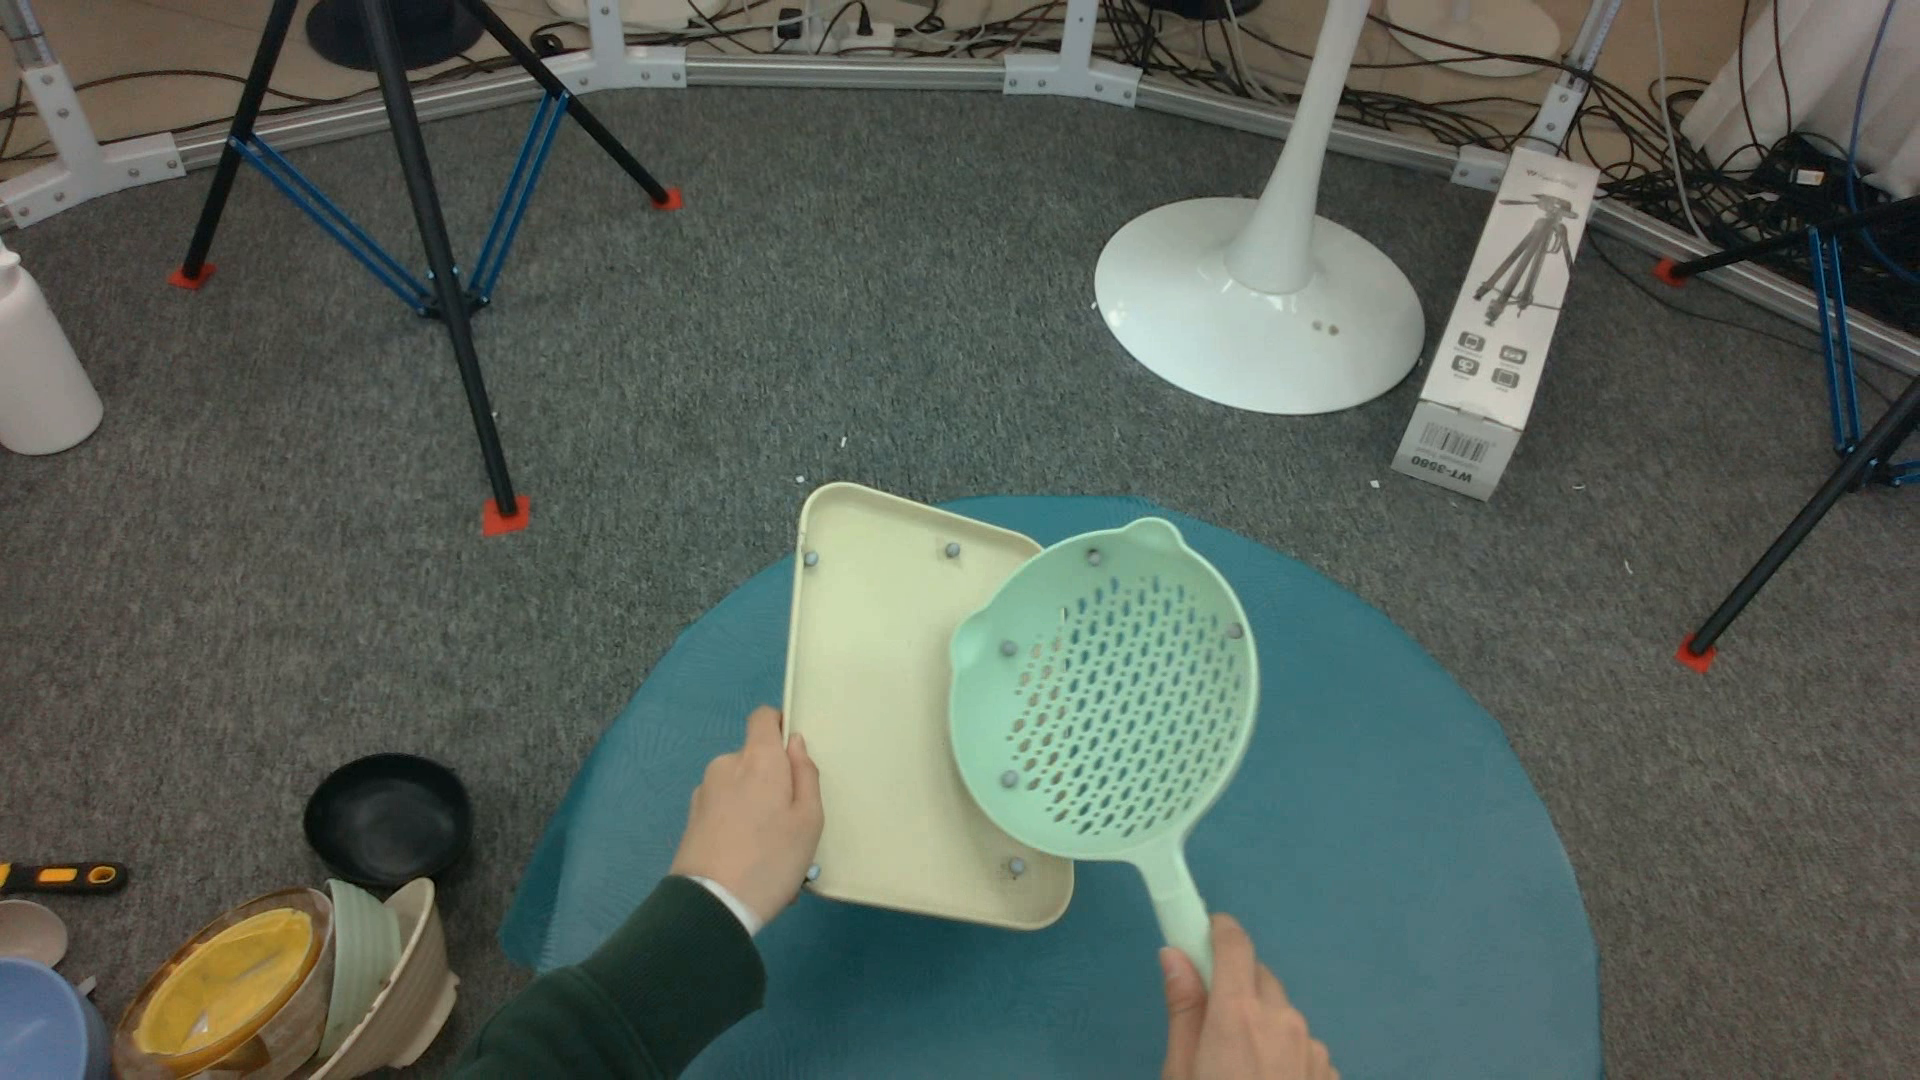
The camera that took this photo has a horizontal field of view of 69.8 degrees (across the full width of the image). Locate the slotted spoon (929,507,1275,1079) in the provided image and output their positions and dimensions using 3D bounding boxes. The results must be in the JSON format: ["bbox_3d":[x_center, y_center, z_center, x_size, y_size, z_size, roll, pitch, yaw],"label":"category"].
[{"bbox_3d":[0.094,0.153,0.655,0.169,0.075,0.360,-30,51,18],"label":"slotted spoon"}]

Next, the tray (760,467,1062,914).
[{"bbox_3d":[-0.024,0.078,0.747,0.171,0.017,0.240,16,55,-24],"label":"tray"}]
